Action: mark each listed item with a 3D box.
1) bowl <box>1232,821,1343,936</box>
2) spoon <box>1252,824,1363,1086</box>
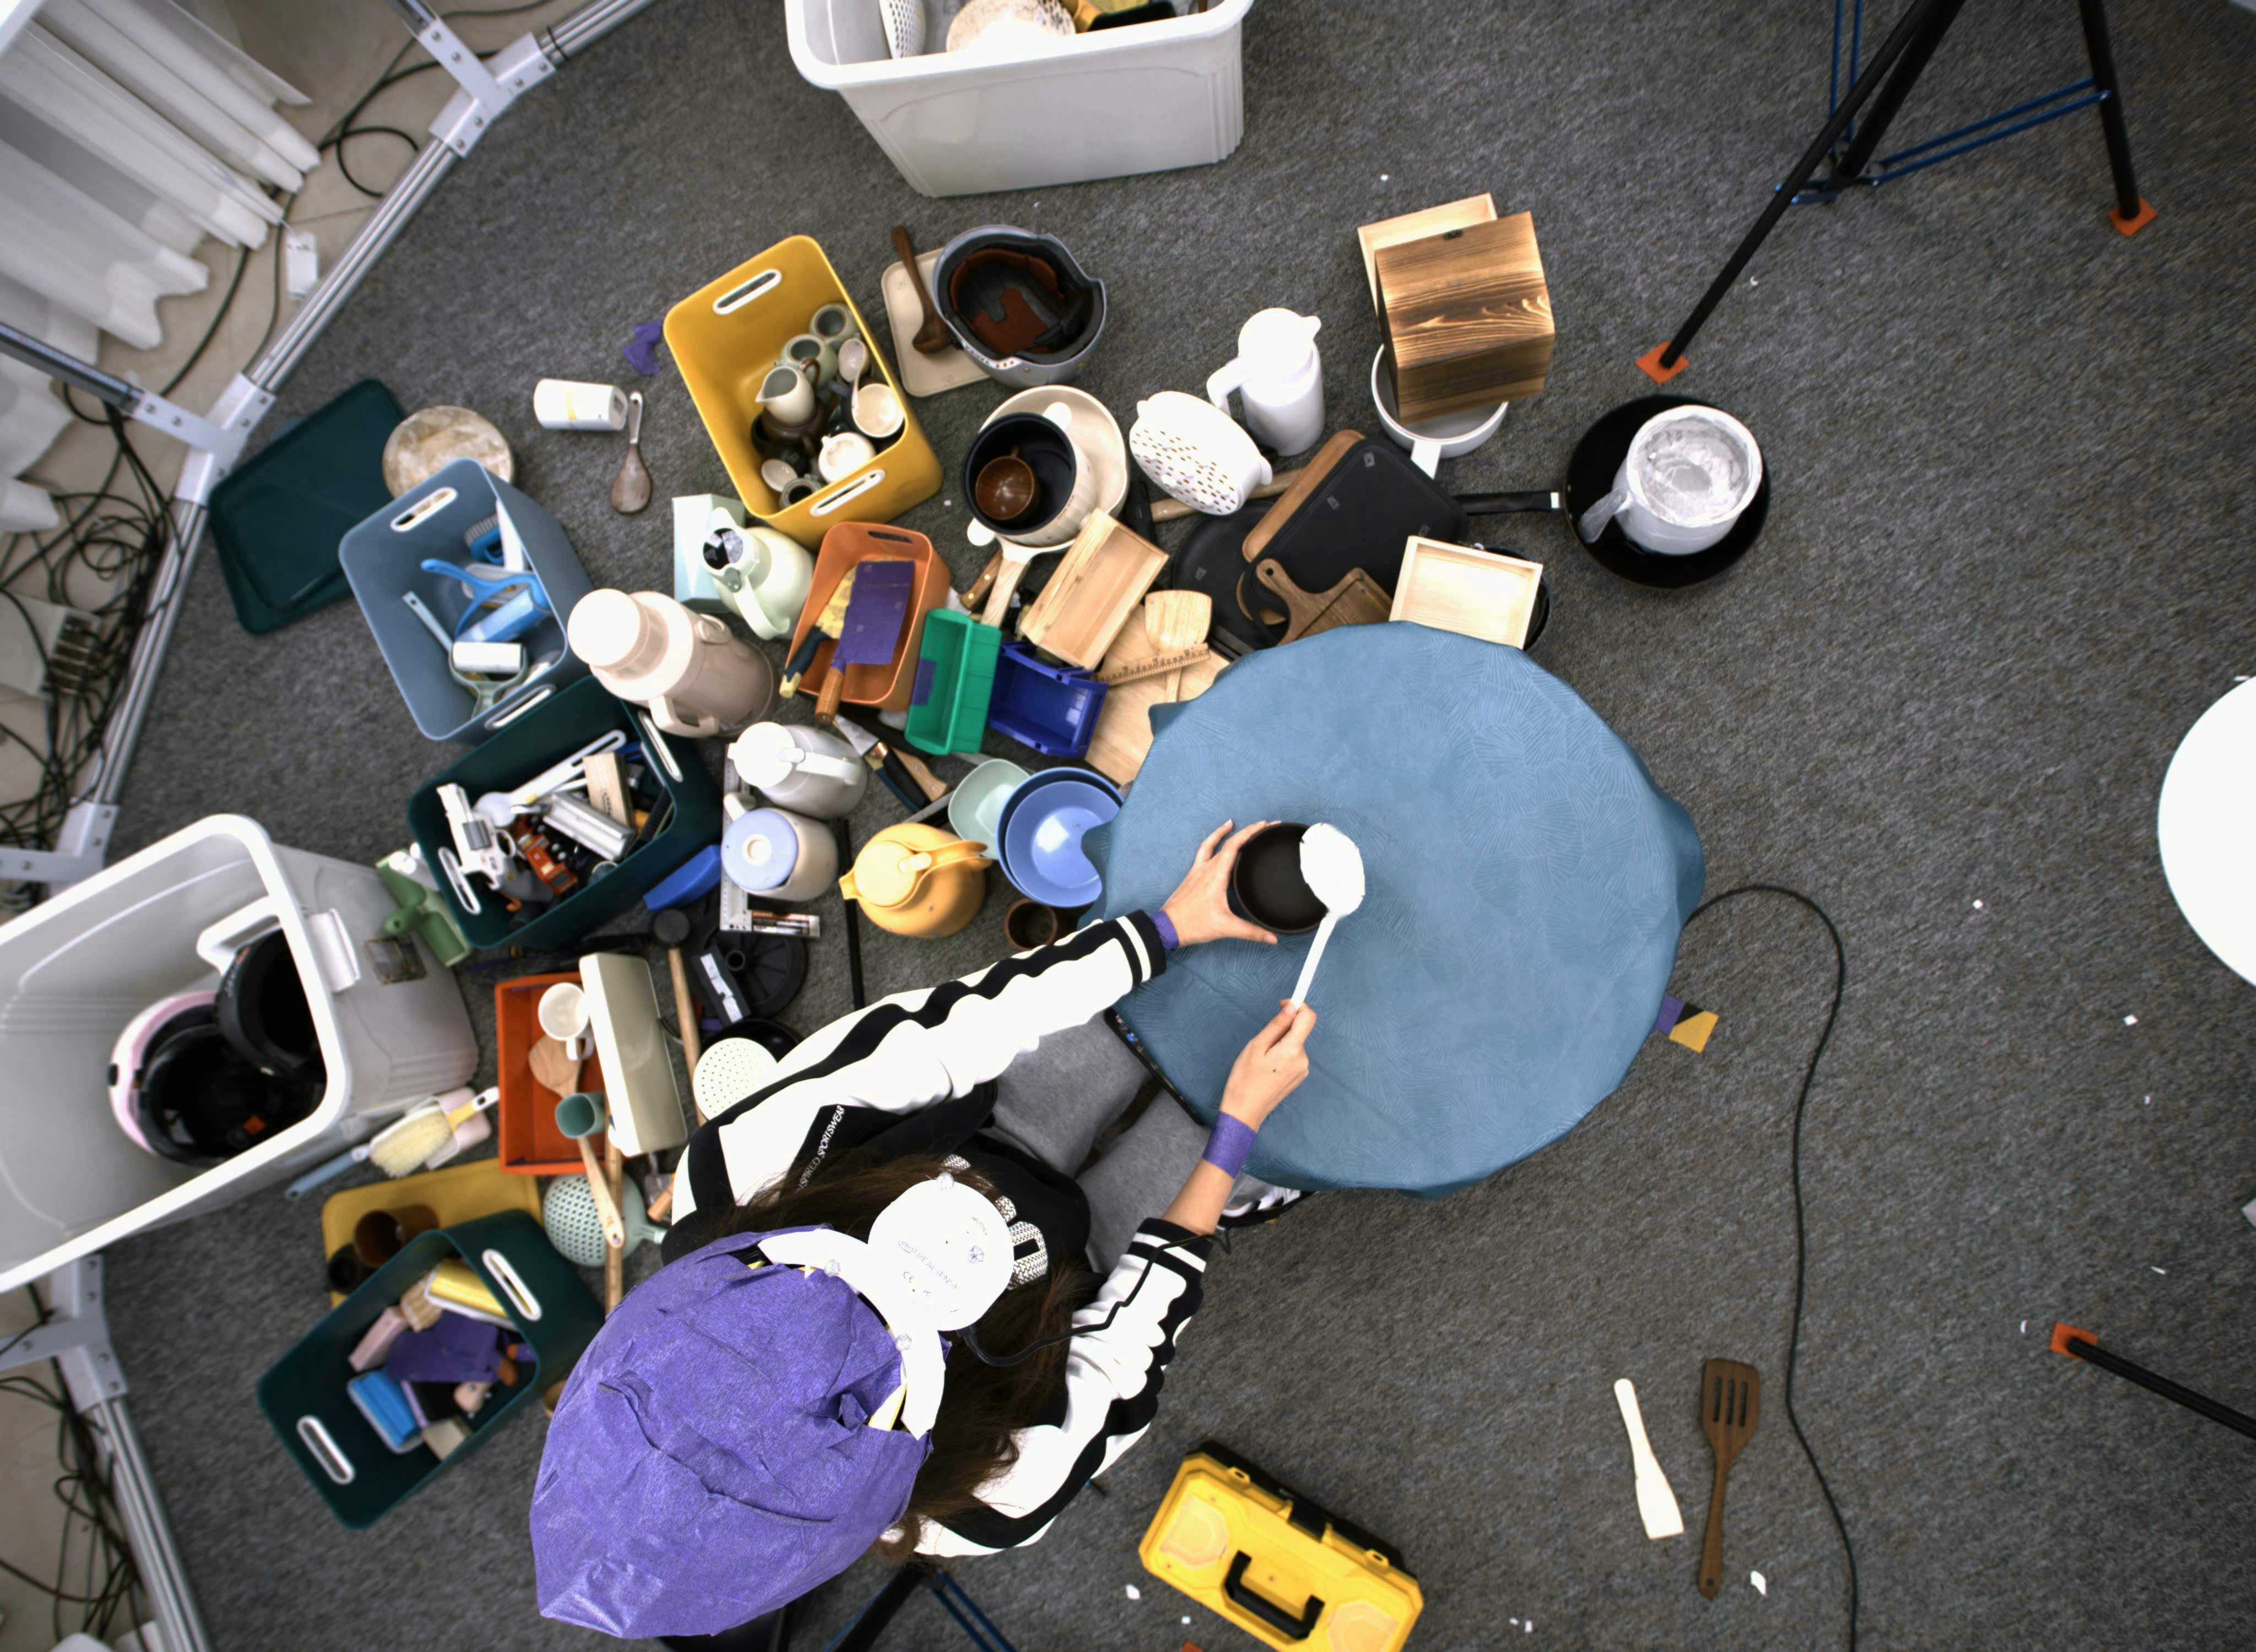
[{"bbox_3d":[0.169,0.056,1.443,0.118,0.070,0.117,-1,86,10],"label":"bowl"},{"bbox_3d":[0.163,0.131,1.395,0.100,0.059,0.280,37,107,53],"label":"spoon"}]
